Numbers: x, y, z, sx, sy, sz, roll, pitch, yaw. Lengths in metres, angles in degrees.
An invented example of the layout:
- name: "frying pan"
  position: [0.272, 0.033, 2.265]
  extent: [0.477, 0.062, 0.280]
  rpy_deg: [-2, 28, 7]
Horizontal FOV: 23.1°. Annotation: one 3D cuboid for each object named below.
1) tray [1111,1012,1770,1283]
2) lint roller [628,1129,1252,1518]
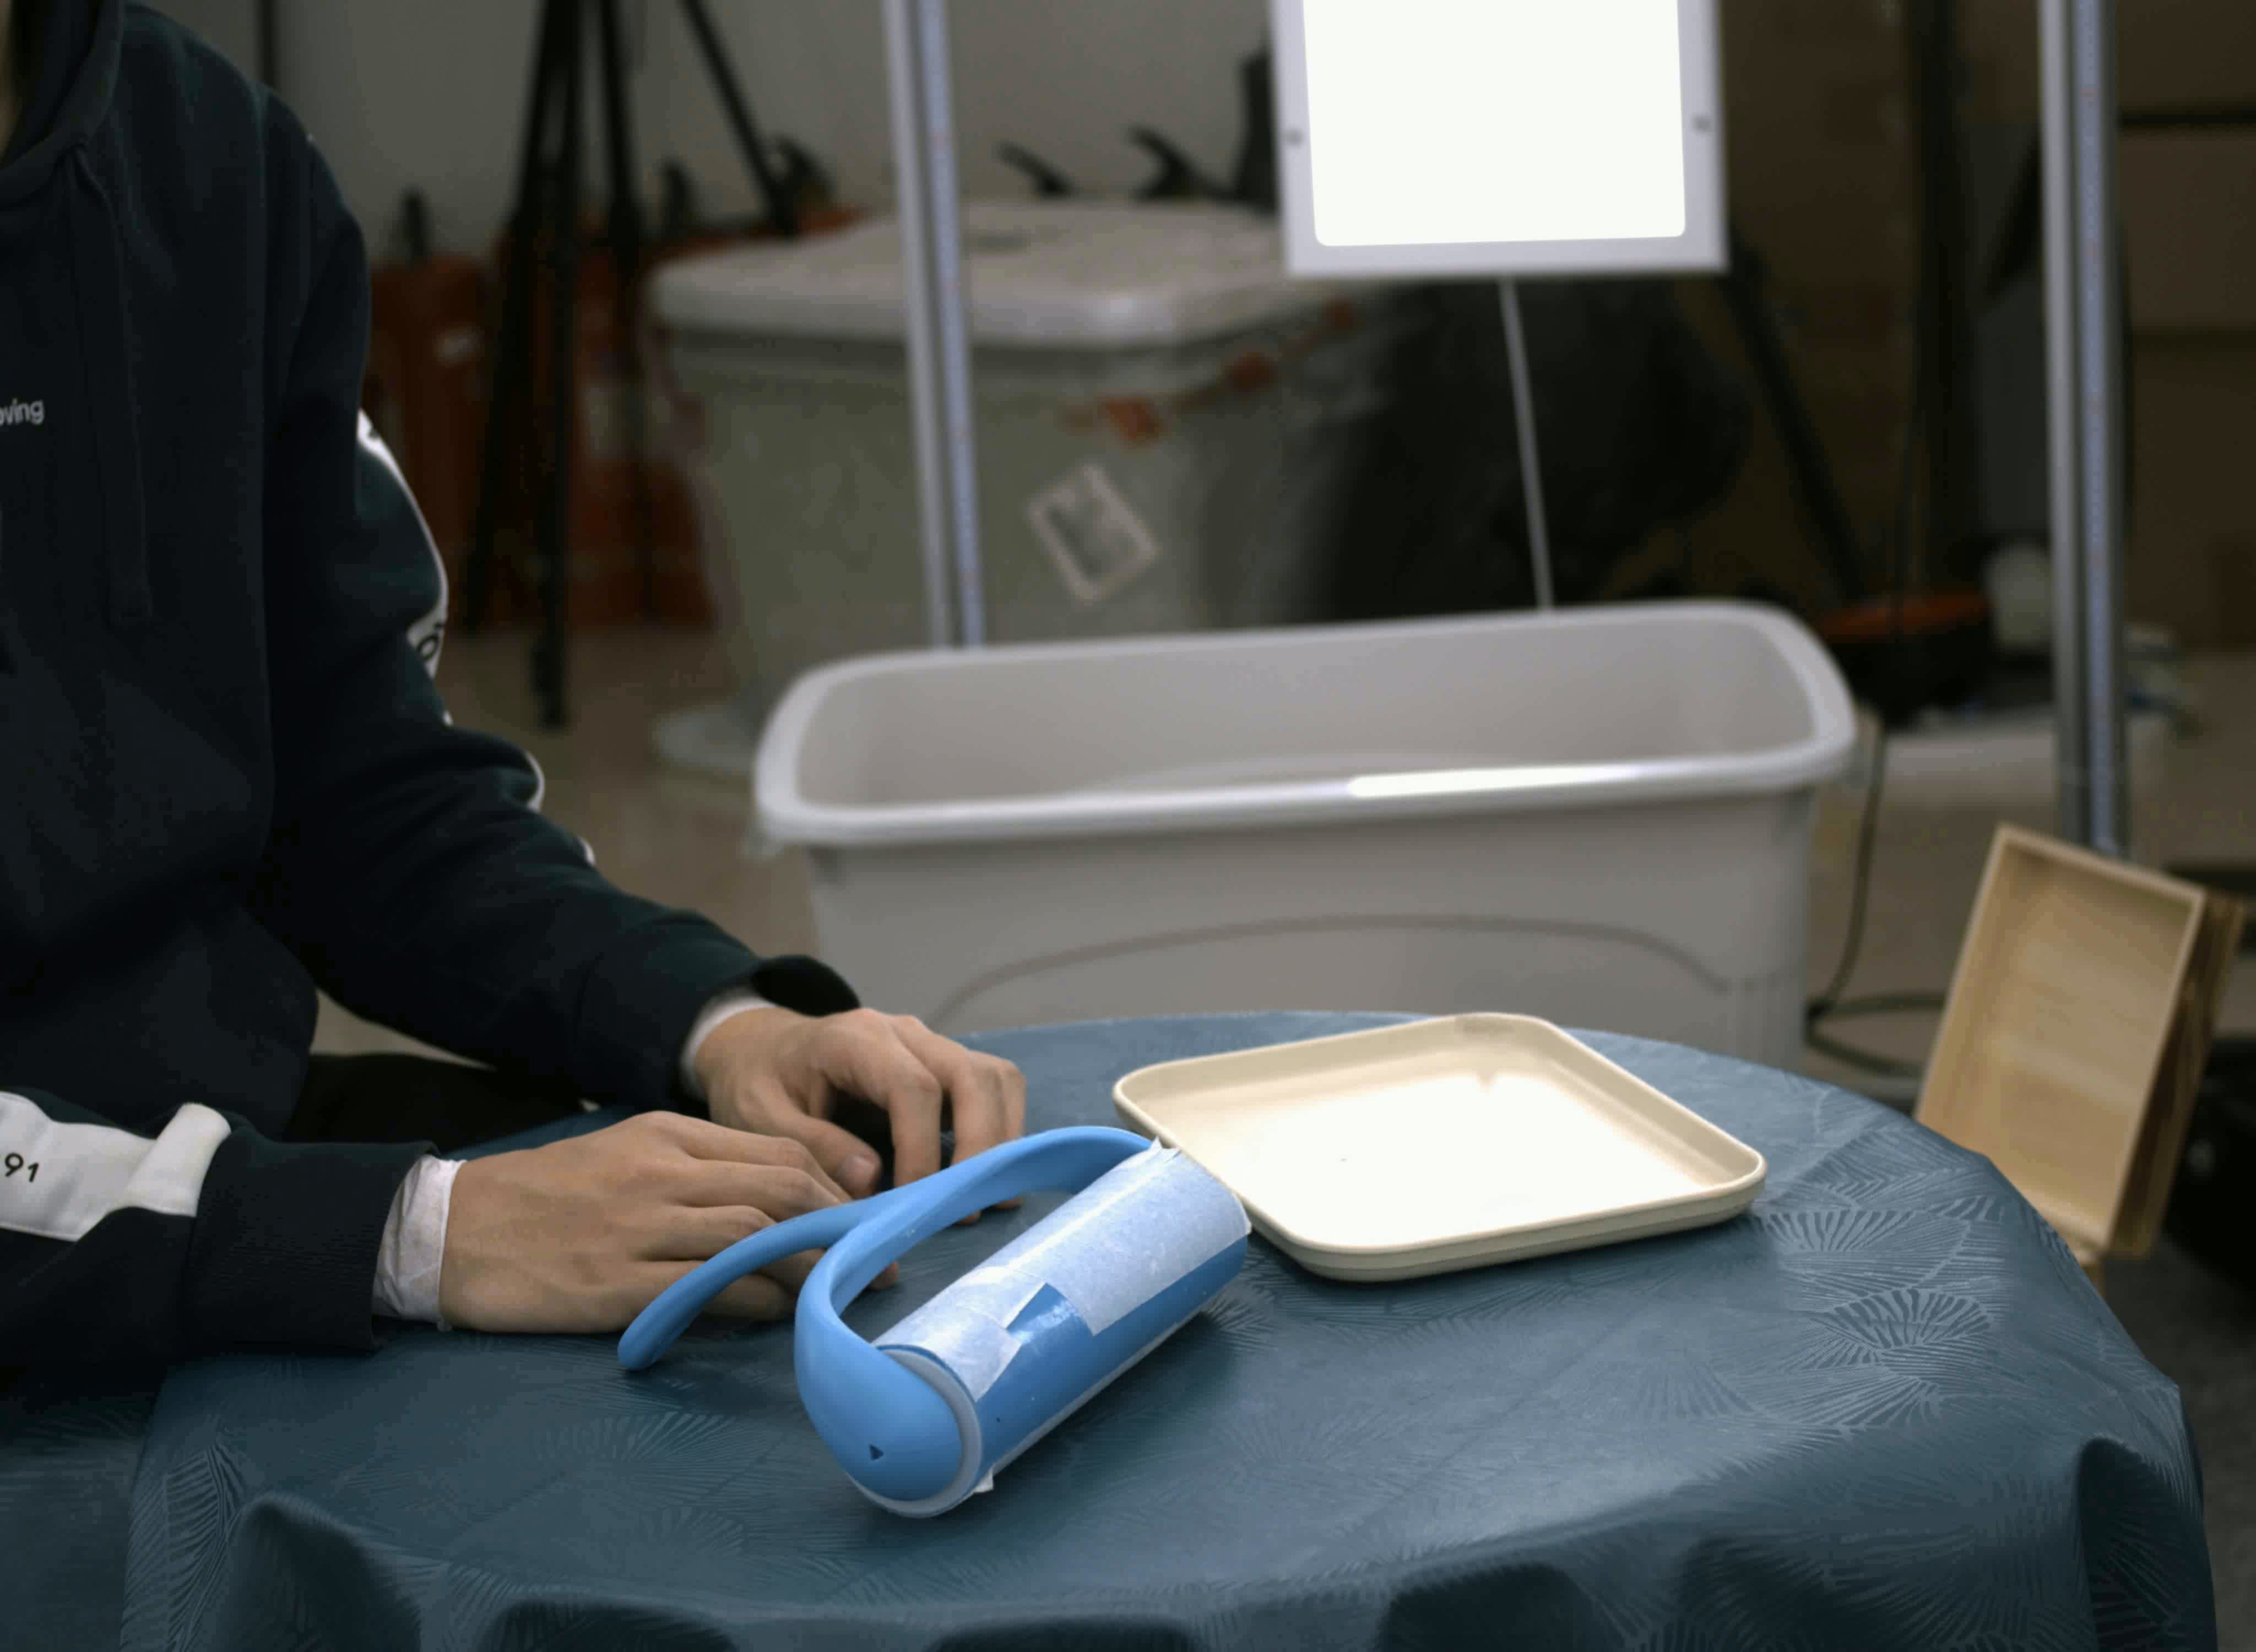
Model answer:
- name: "tray"
  position: [0.104, 0.109, 1.889]
  extent: [0.169, 0.017, 0.242]
  rpy_deg: [-10, 15, -16]
- name: "lint roller"
  position: [-0.078, 0.150, 1.710]
  extent: [0.183, 0.068, 0.224]
  rpy_deg: [2, 17, 23]
